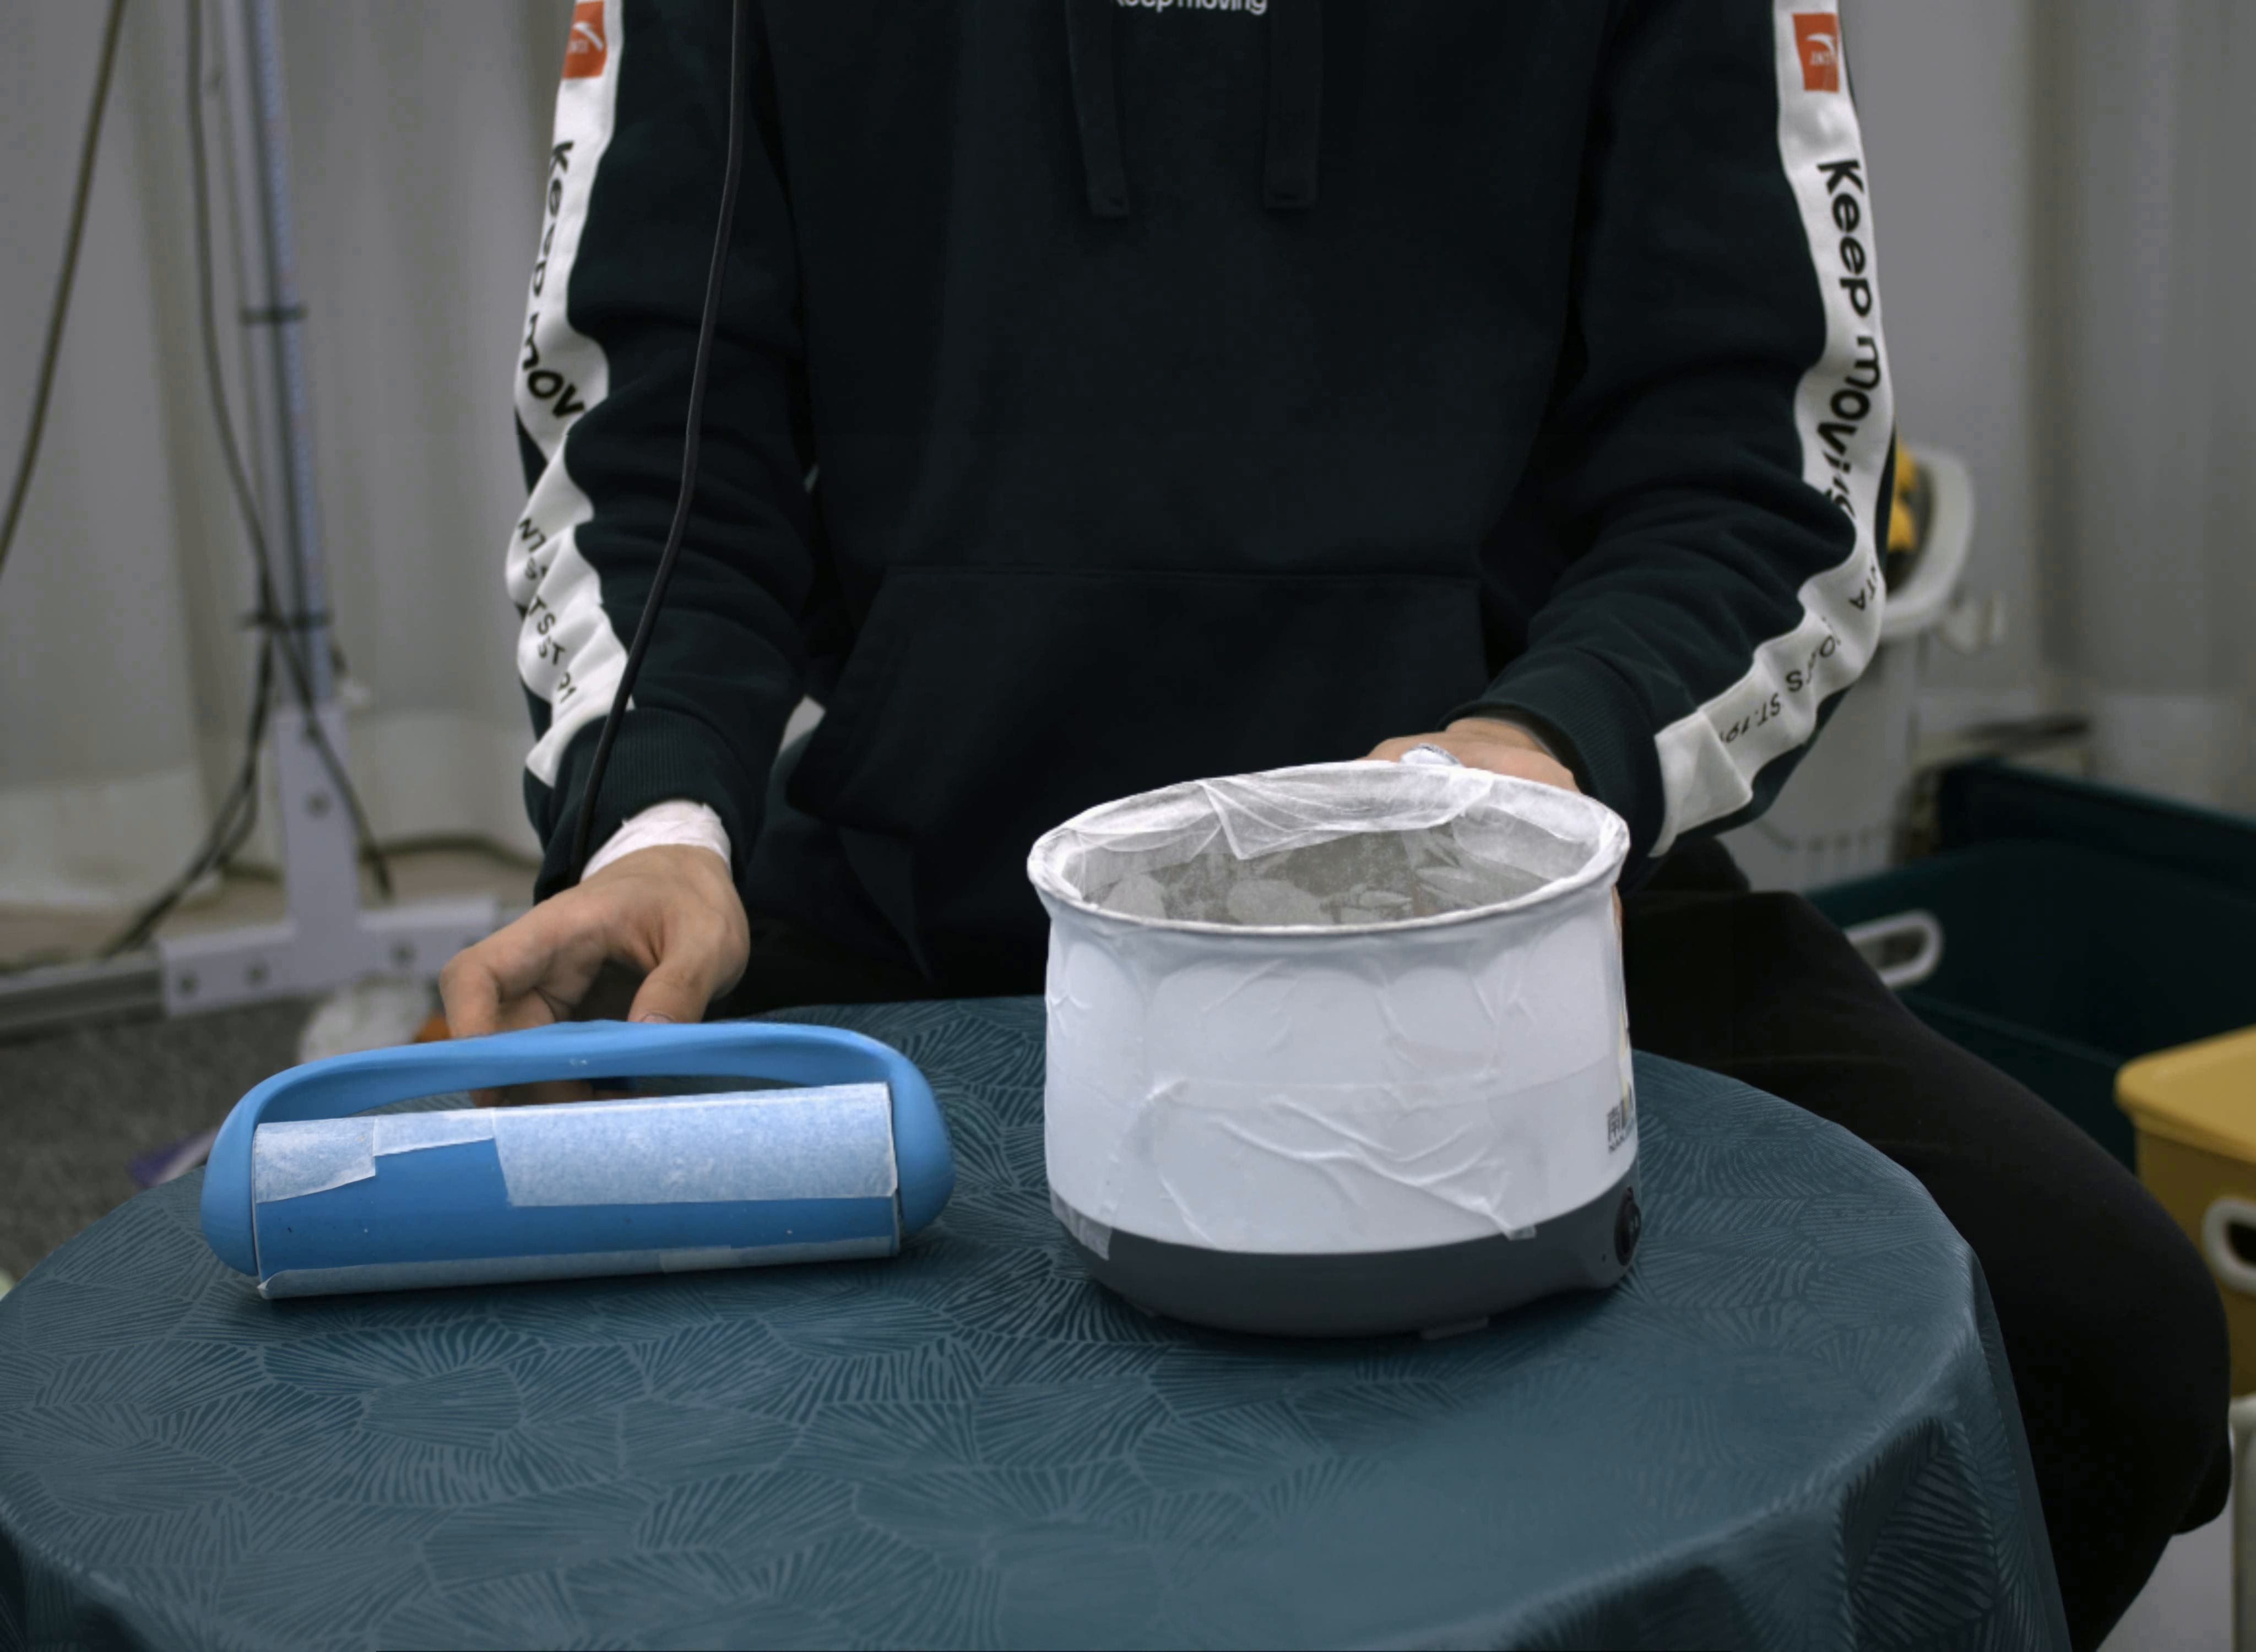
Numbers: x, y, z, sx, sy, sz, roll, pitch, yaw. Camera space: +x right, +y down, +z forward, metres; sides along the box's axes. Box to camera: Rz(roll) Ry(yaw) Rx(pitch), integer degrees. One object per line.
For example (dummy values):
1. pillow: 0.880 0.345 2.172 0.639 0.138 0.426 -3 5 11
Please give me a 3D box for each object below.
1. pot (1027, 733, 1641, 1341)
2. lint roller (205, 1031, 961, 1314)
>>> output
1. pot: 0.071 0.057 1.643 0.179 0.136 0.234 2 17 19
2. lint roller: -0.172 0.096 1.712 0.228 0.067 0.182 -6 16 -6
